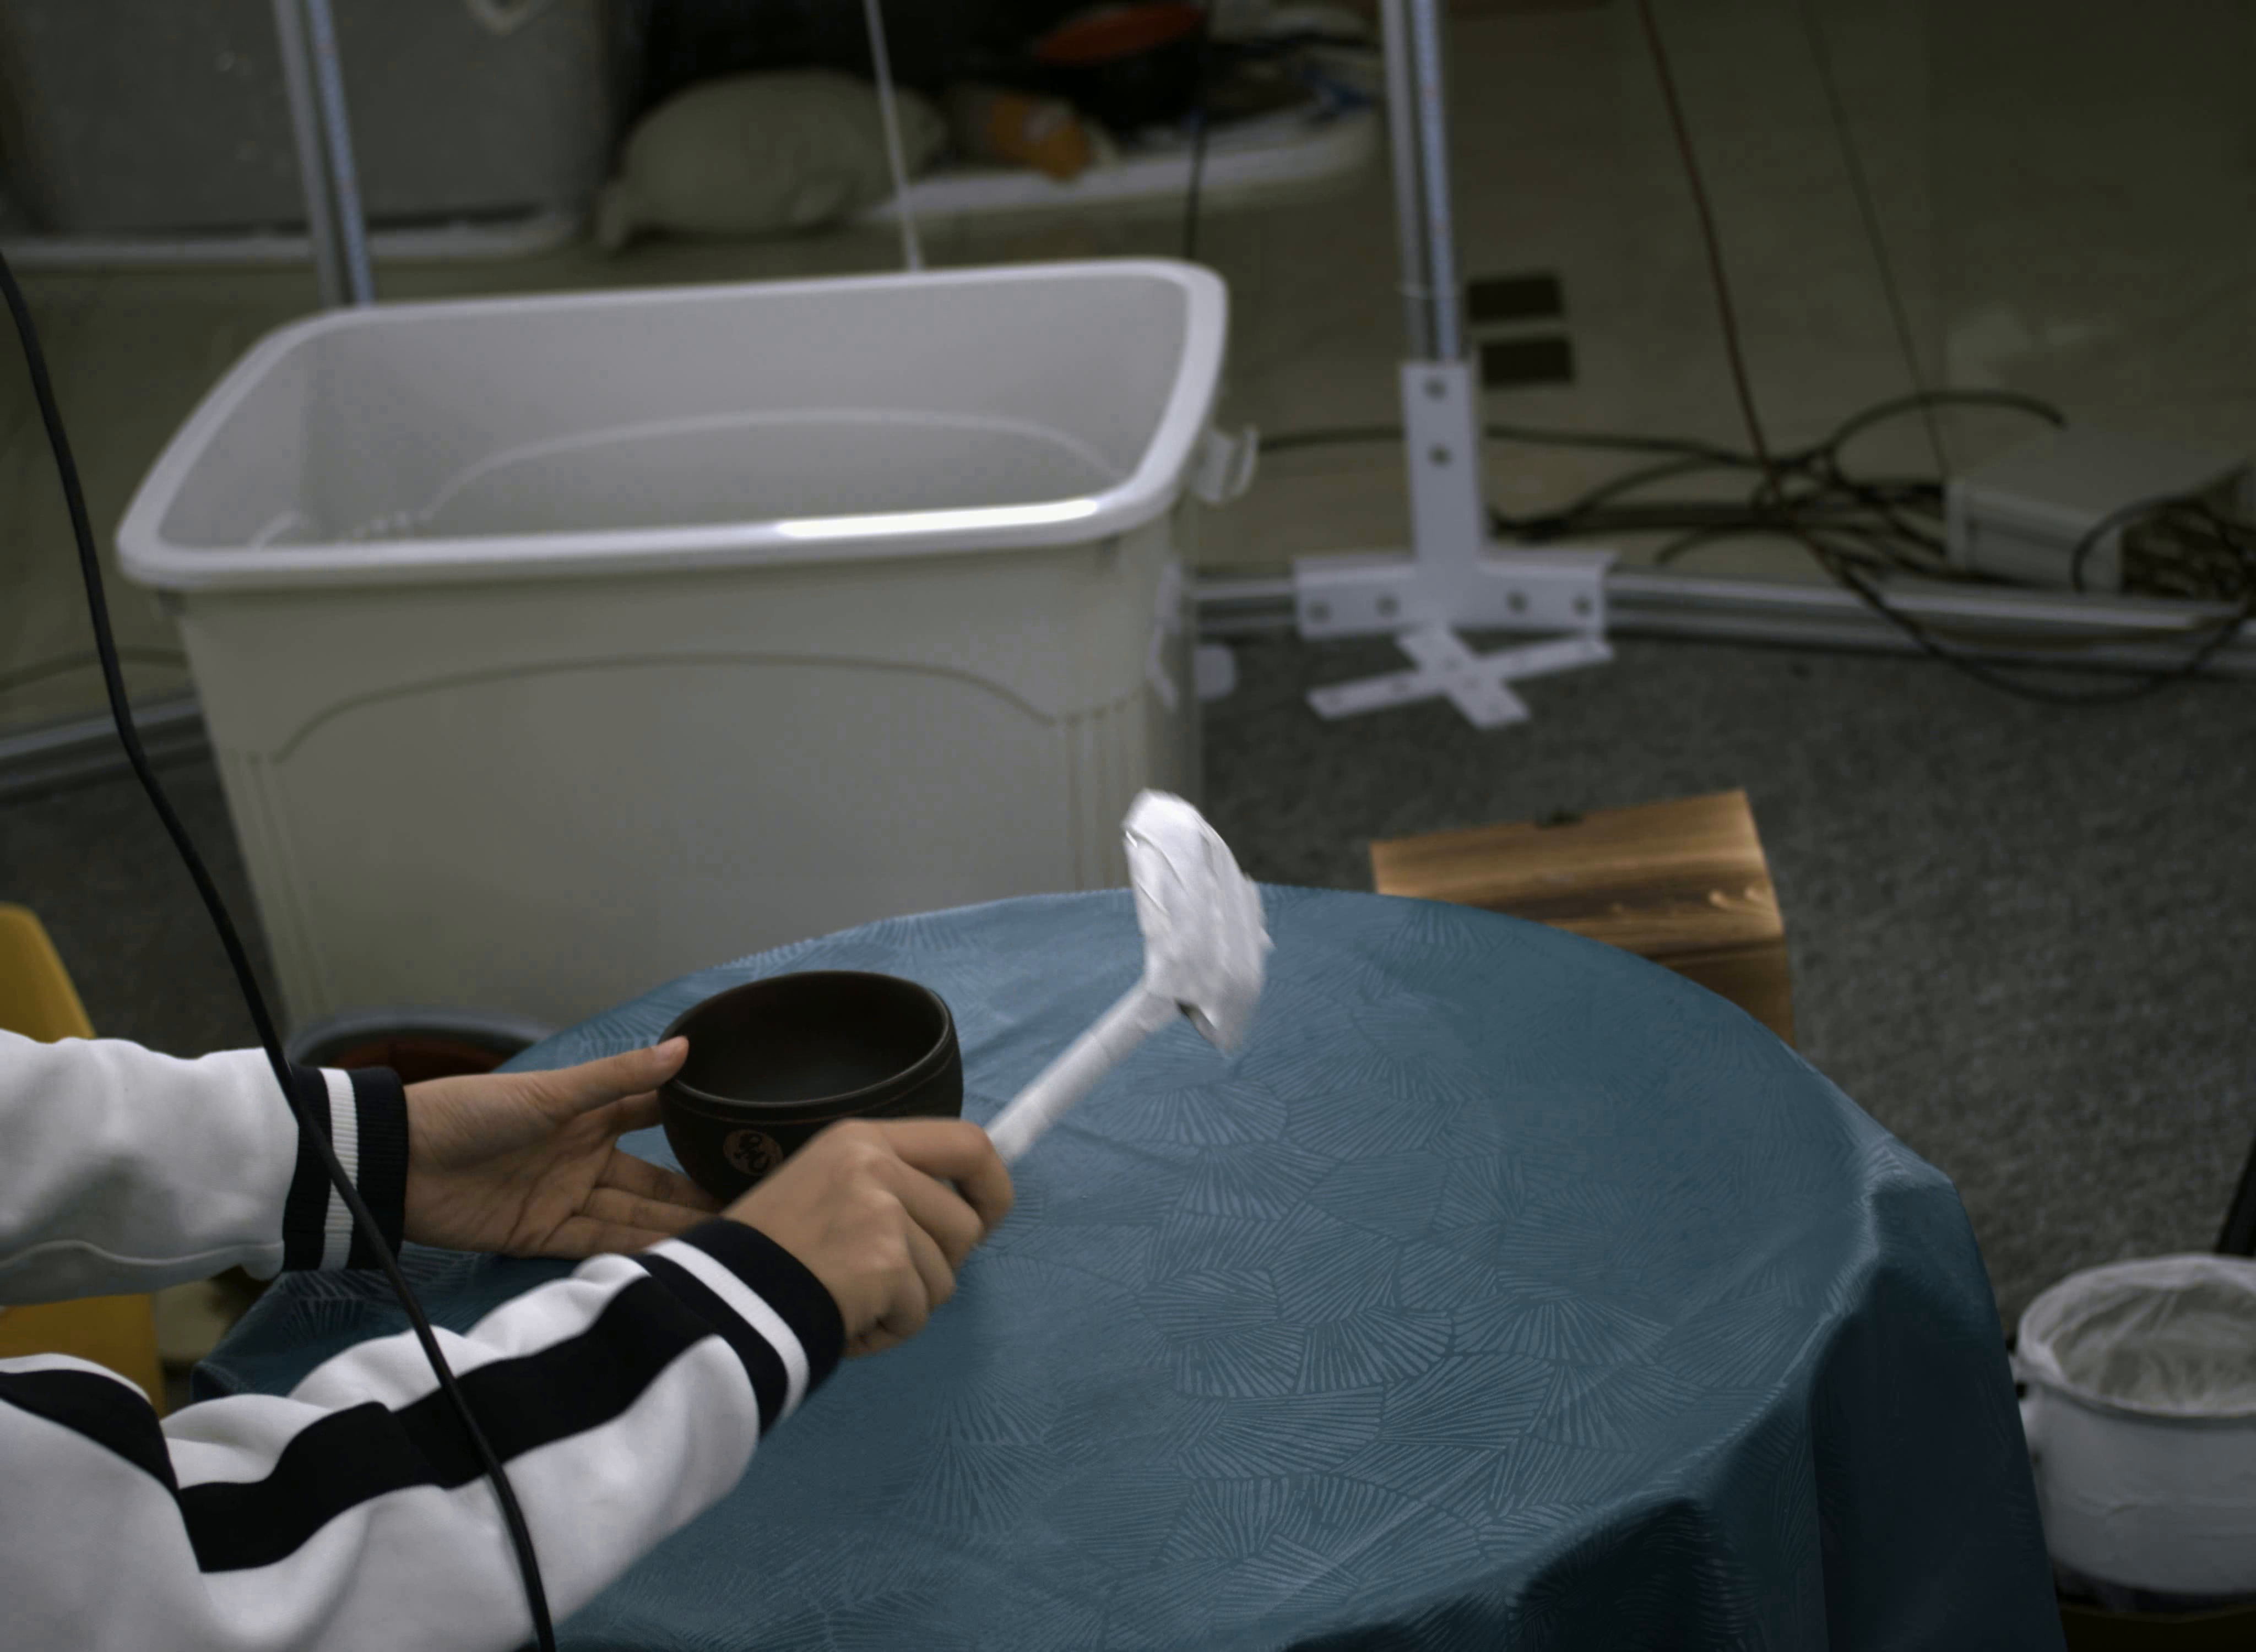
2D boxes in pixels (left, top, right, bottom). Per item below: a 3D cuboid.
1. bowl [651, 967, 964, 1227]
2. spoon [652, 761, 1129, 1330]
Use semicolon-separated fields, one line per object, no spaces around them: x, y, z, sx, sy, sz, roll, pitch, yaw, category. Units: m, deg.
-0.120;0.109;2.154;0.118;0.071;0.116;-6;25;3;bowl
-0.083;0.080;1.958;0.059;0.102;0.274;32;55;29;spoon
